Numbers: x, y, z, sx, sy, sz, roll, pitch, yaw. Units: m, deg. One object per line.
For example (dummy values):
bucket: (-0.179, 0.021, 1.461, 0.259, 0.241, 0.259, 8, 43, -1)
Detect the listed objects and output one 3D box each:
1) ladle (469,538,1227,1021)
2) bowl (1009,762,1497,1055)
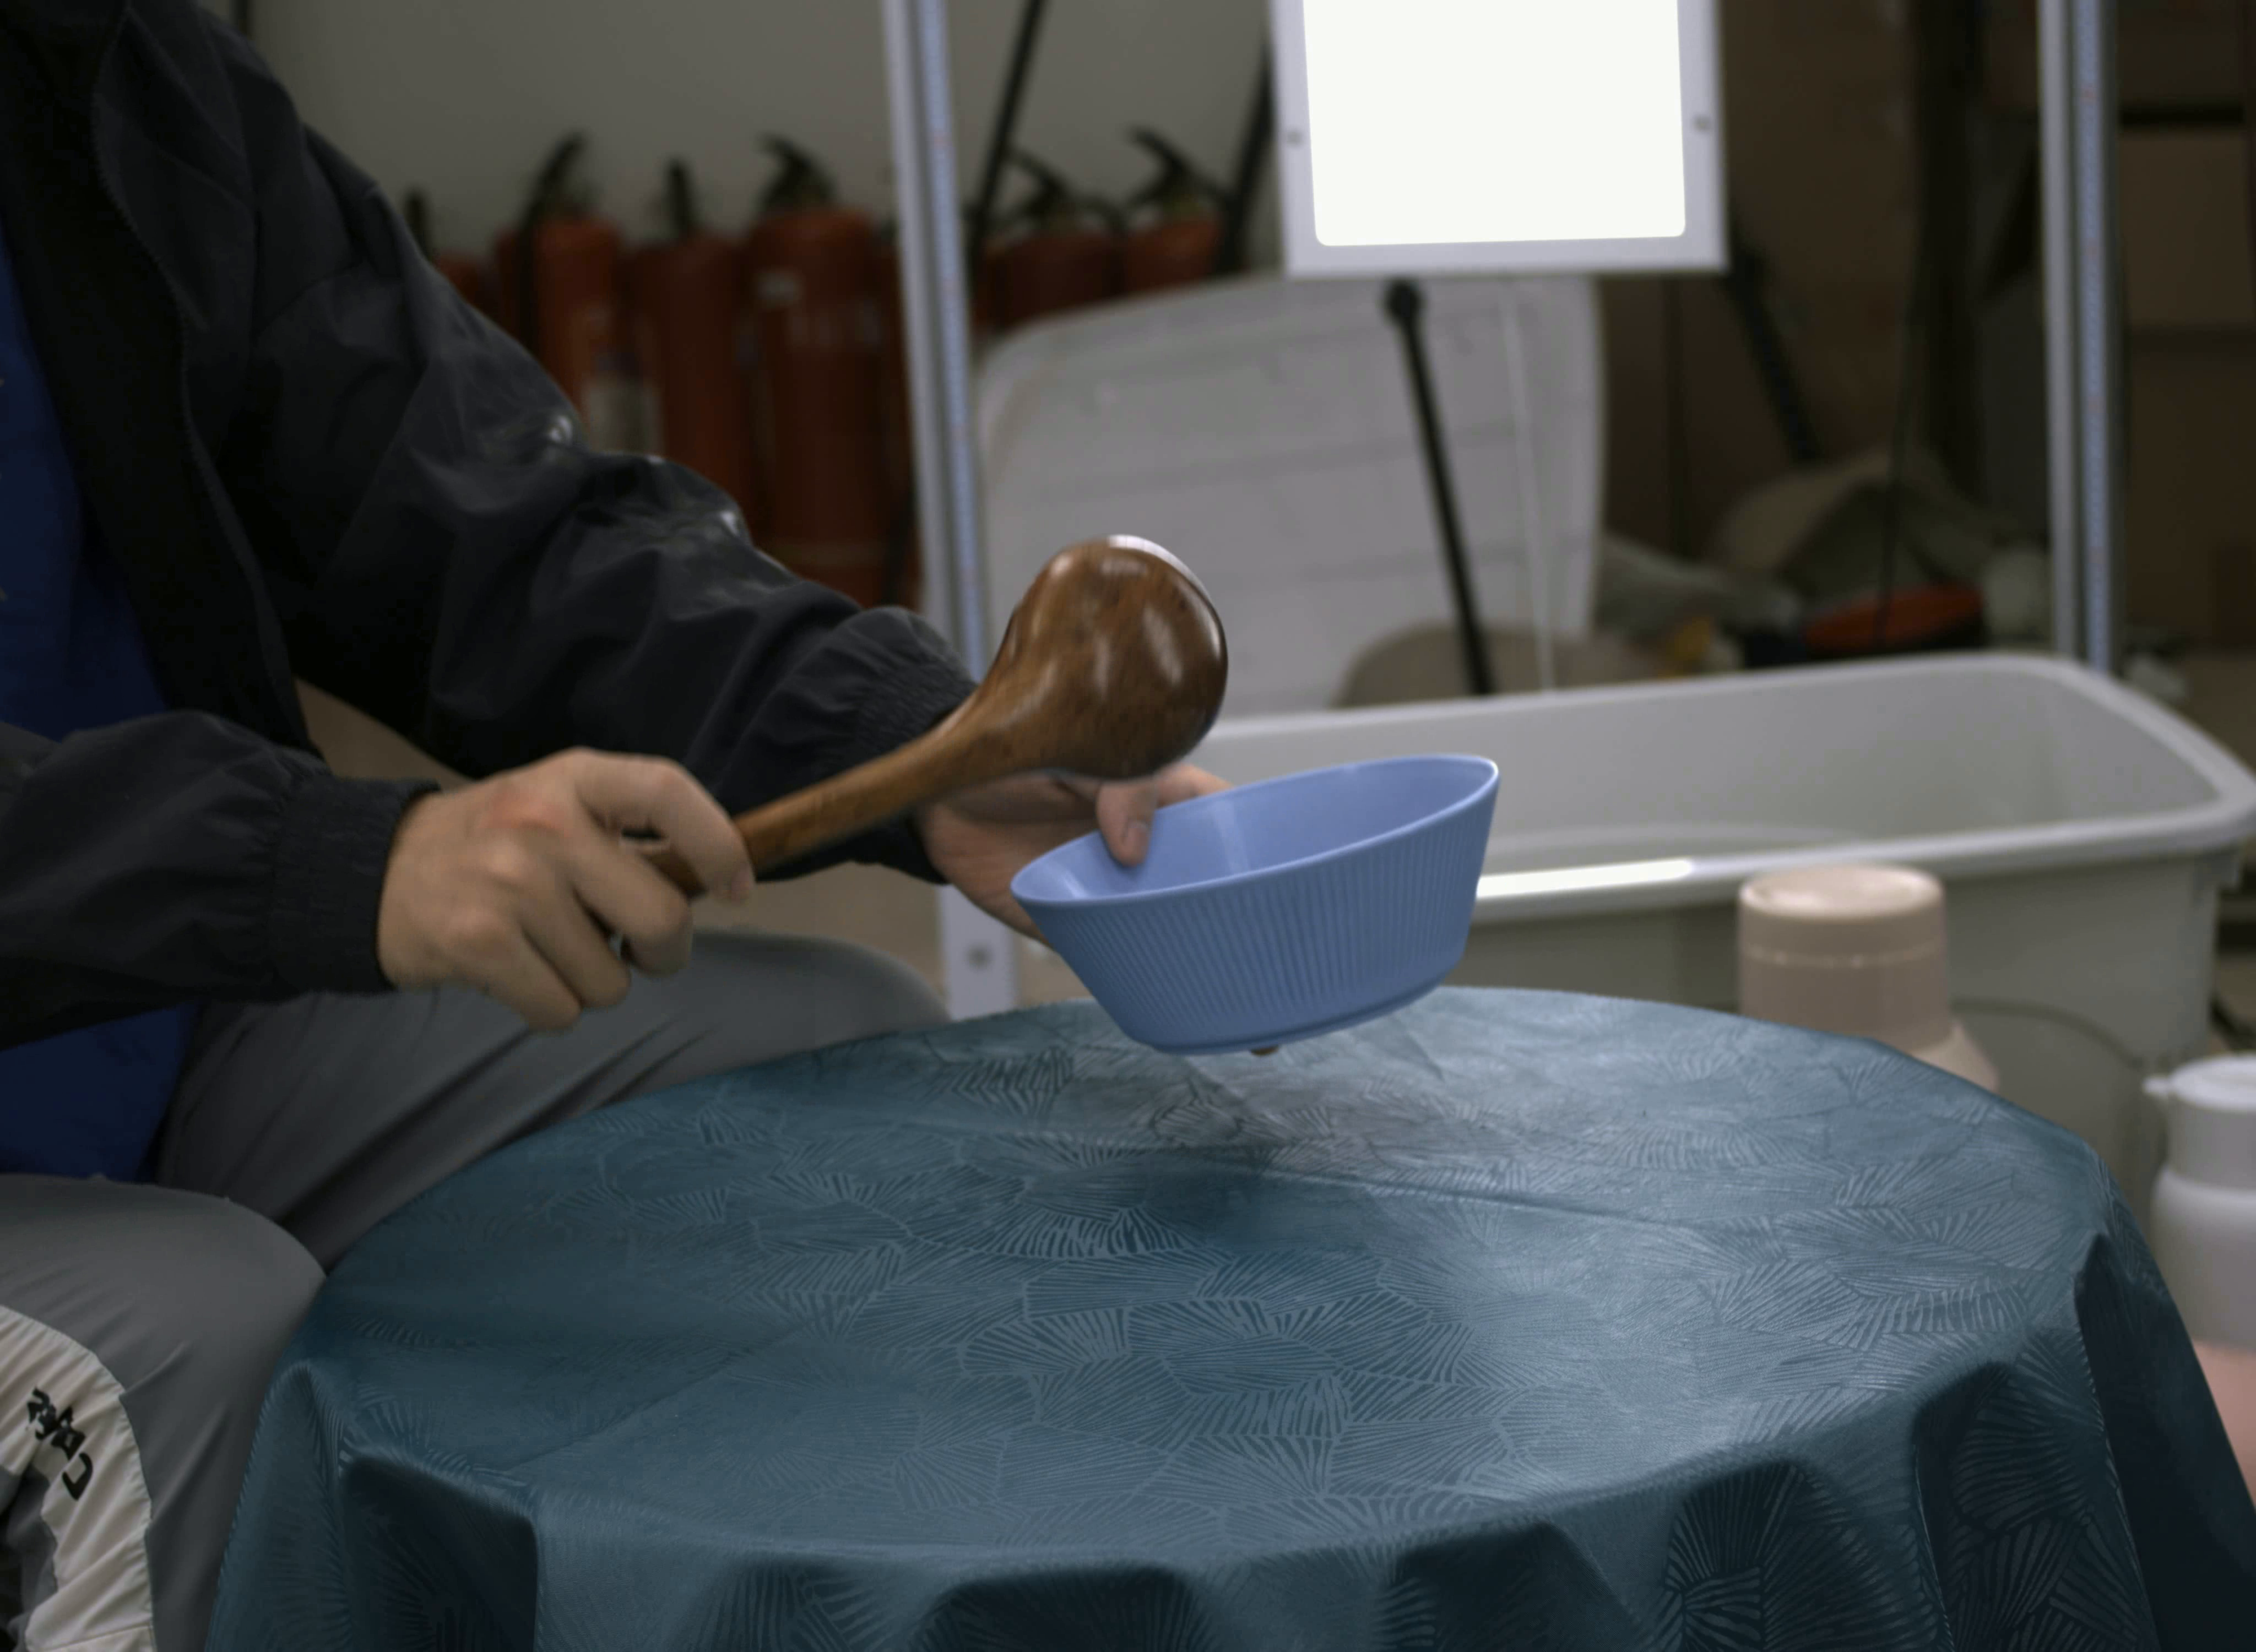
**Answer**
ladle: (-0.094, -0.011, 1.814, 0.278, 0.082, 0.075, -25, 7, 23)
bowl: (0.050, 0.032, 1.919, 0.176, 0.070, 0.176, -14, 9, 1)
